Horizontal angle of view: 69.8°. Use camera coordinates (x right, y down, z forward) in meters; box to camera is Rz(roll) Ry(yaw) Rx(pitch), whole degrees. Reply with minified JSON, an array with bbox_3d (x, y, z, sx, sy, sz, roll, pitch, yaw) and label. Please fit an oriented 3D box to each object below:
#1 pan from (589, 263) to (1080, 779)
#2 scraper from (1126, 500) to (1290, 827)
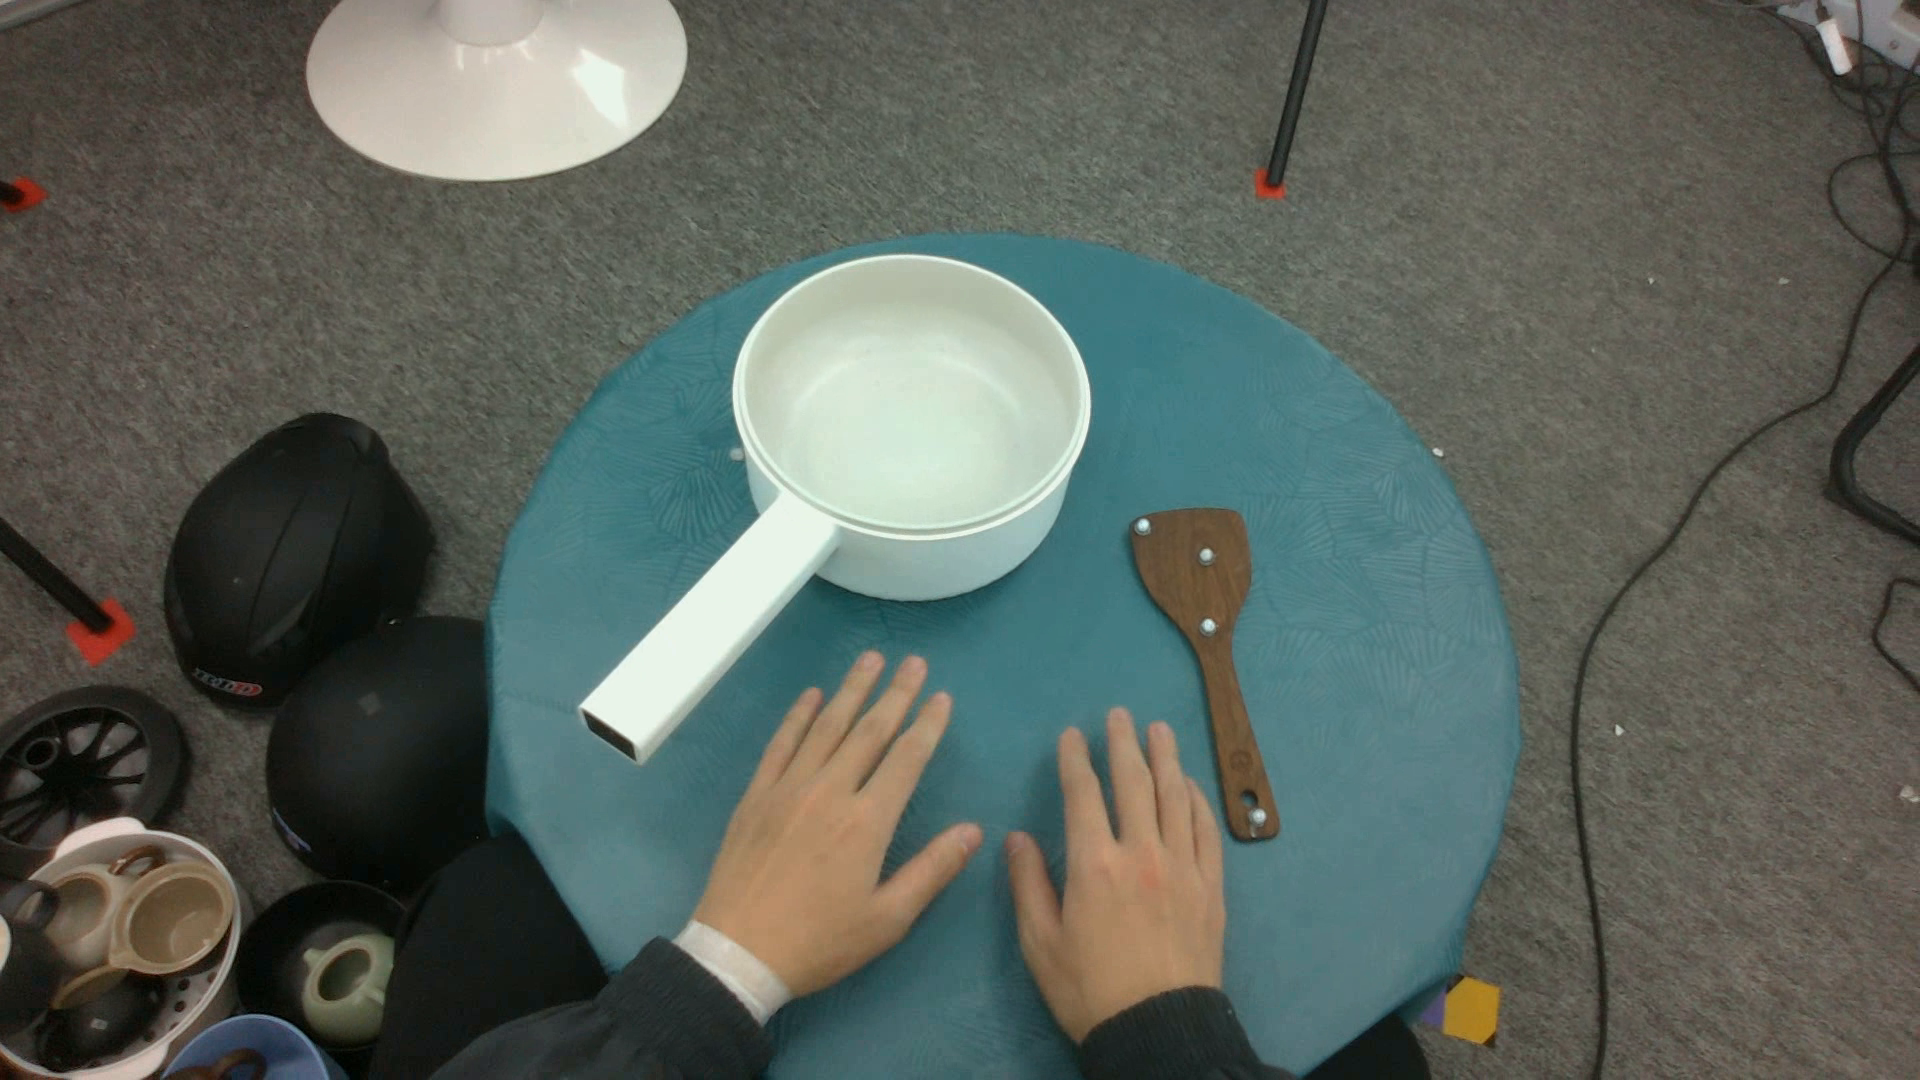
[{"bbox_3d":[-0.073,-0.003,0.787,0.201,0.101,0.356,29,62,14],"label":"pan"},{"bbox_3d":[0.153,0.067,0.807,0.076,0.011,0.212,-6,58,-6],"label":"scraper"}]
